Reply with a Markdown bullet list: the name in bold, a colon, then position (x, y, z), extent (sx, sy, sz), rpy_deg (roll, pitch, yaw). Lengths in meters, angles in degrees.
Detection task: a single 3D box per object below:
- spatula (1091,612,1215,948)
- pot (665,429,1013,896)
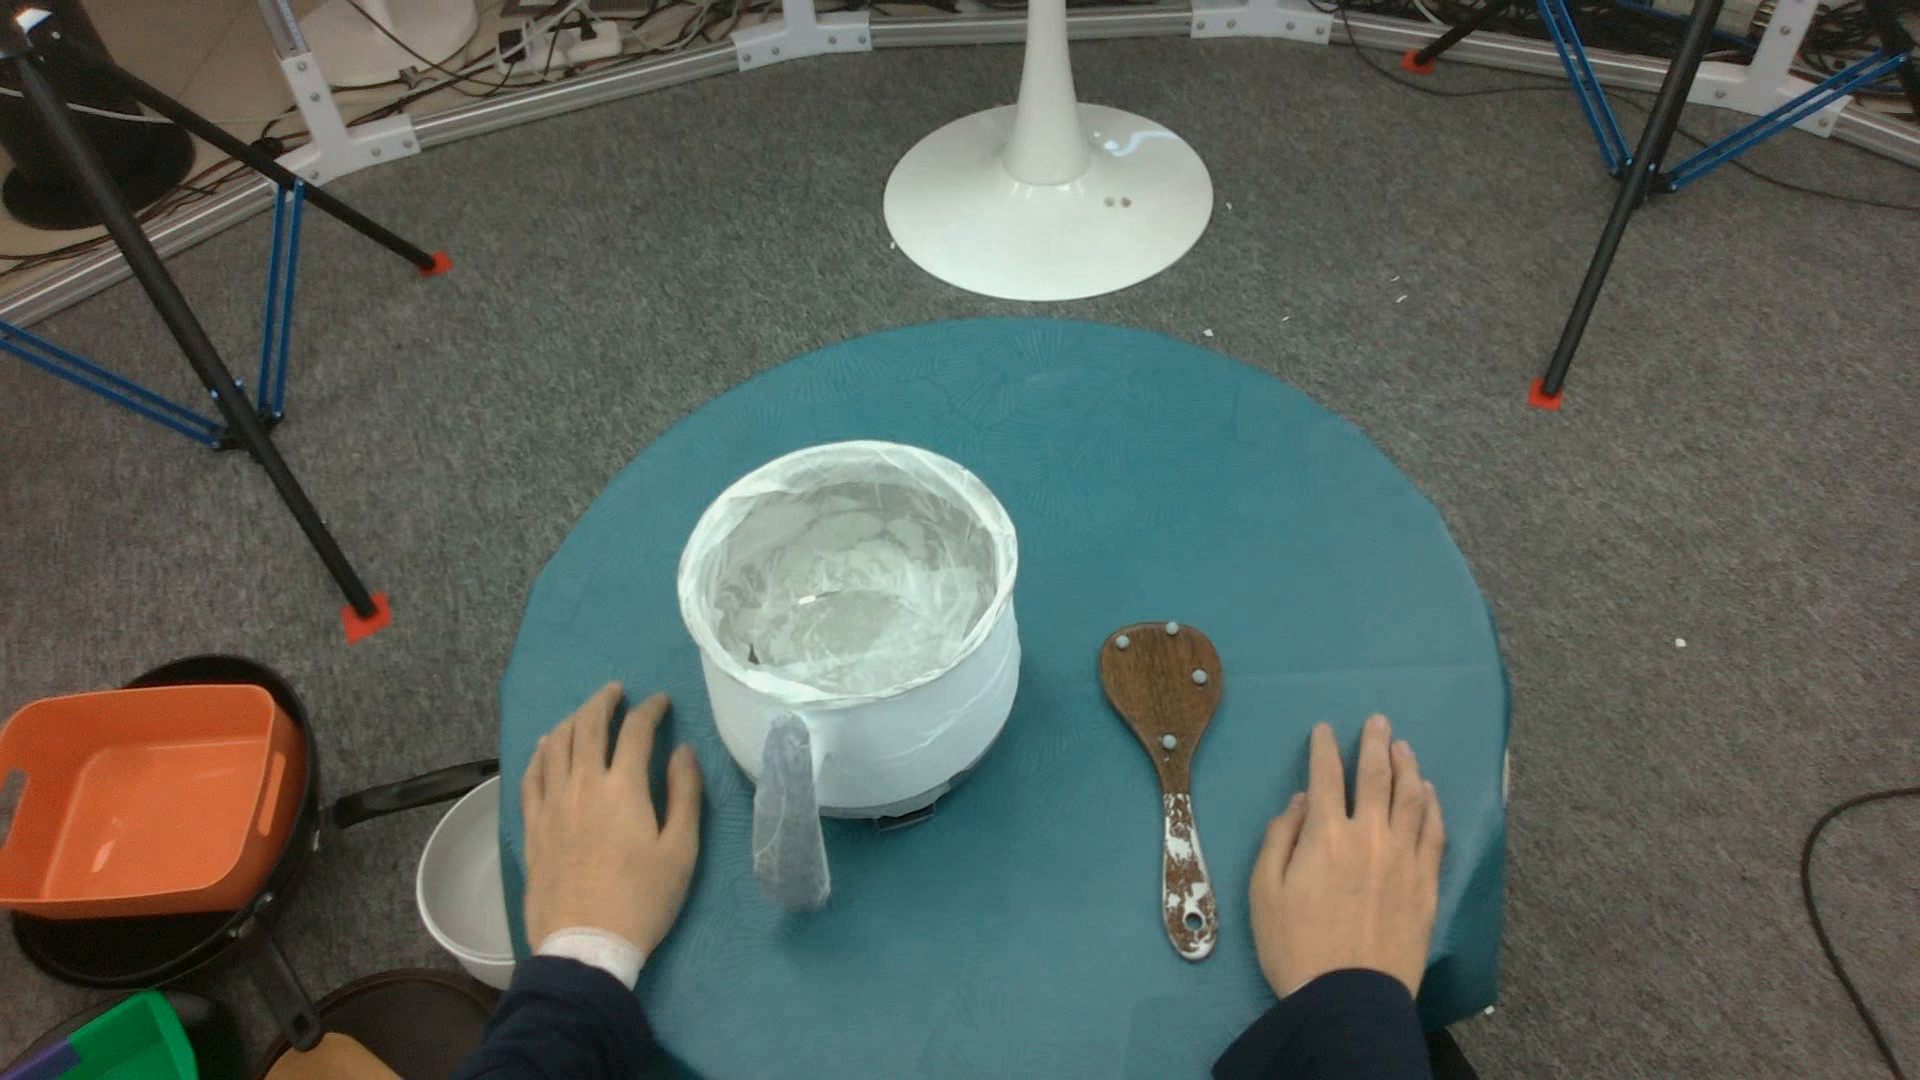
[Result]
- **spatula**: position (0.115, 0.126, 0.772), extent (0.072, 0.009, 0.217), rpy_deg (-3, 50, 2)
- **pot**: position (-0.065, 0.066, 0.743), extent (0.178, 0.136, 0.235), rpy_deg (5, 48, 10)
